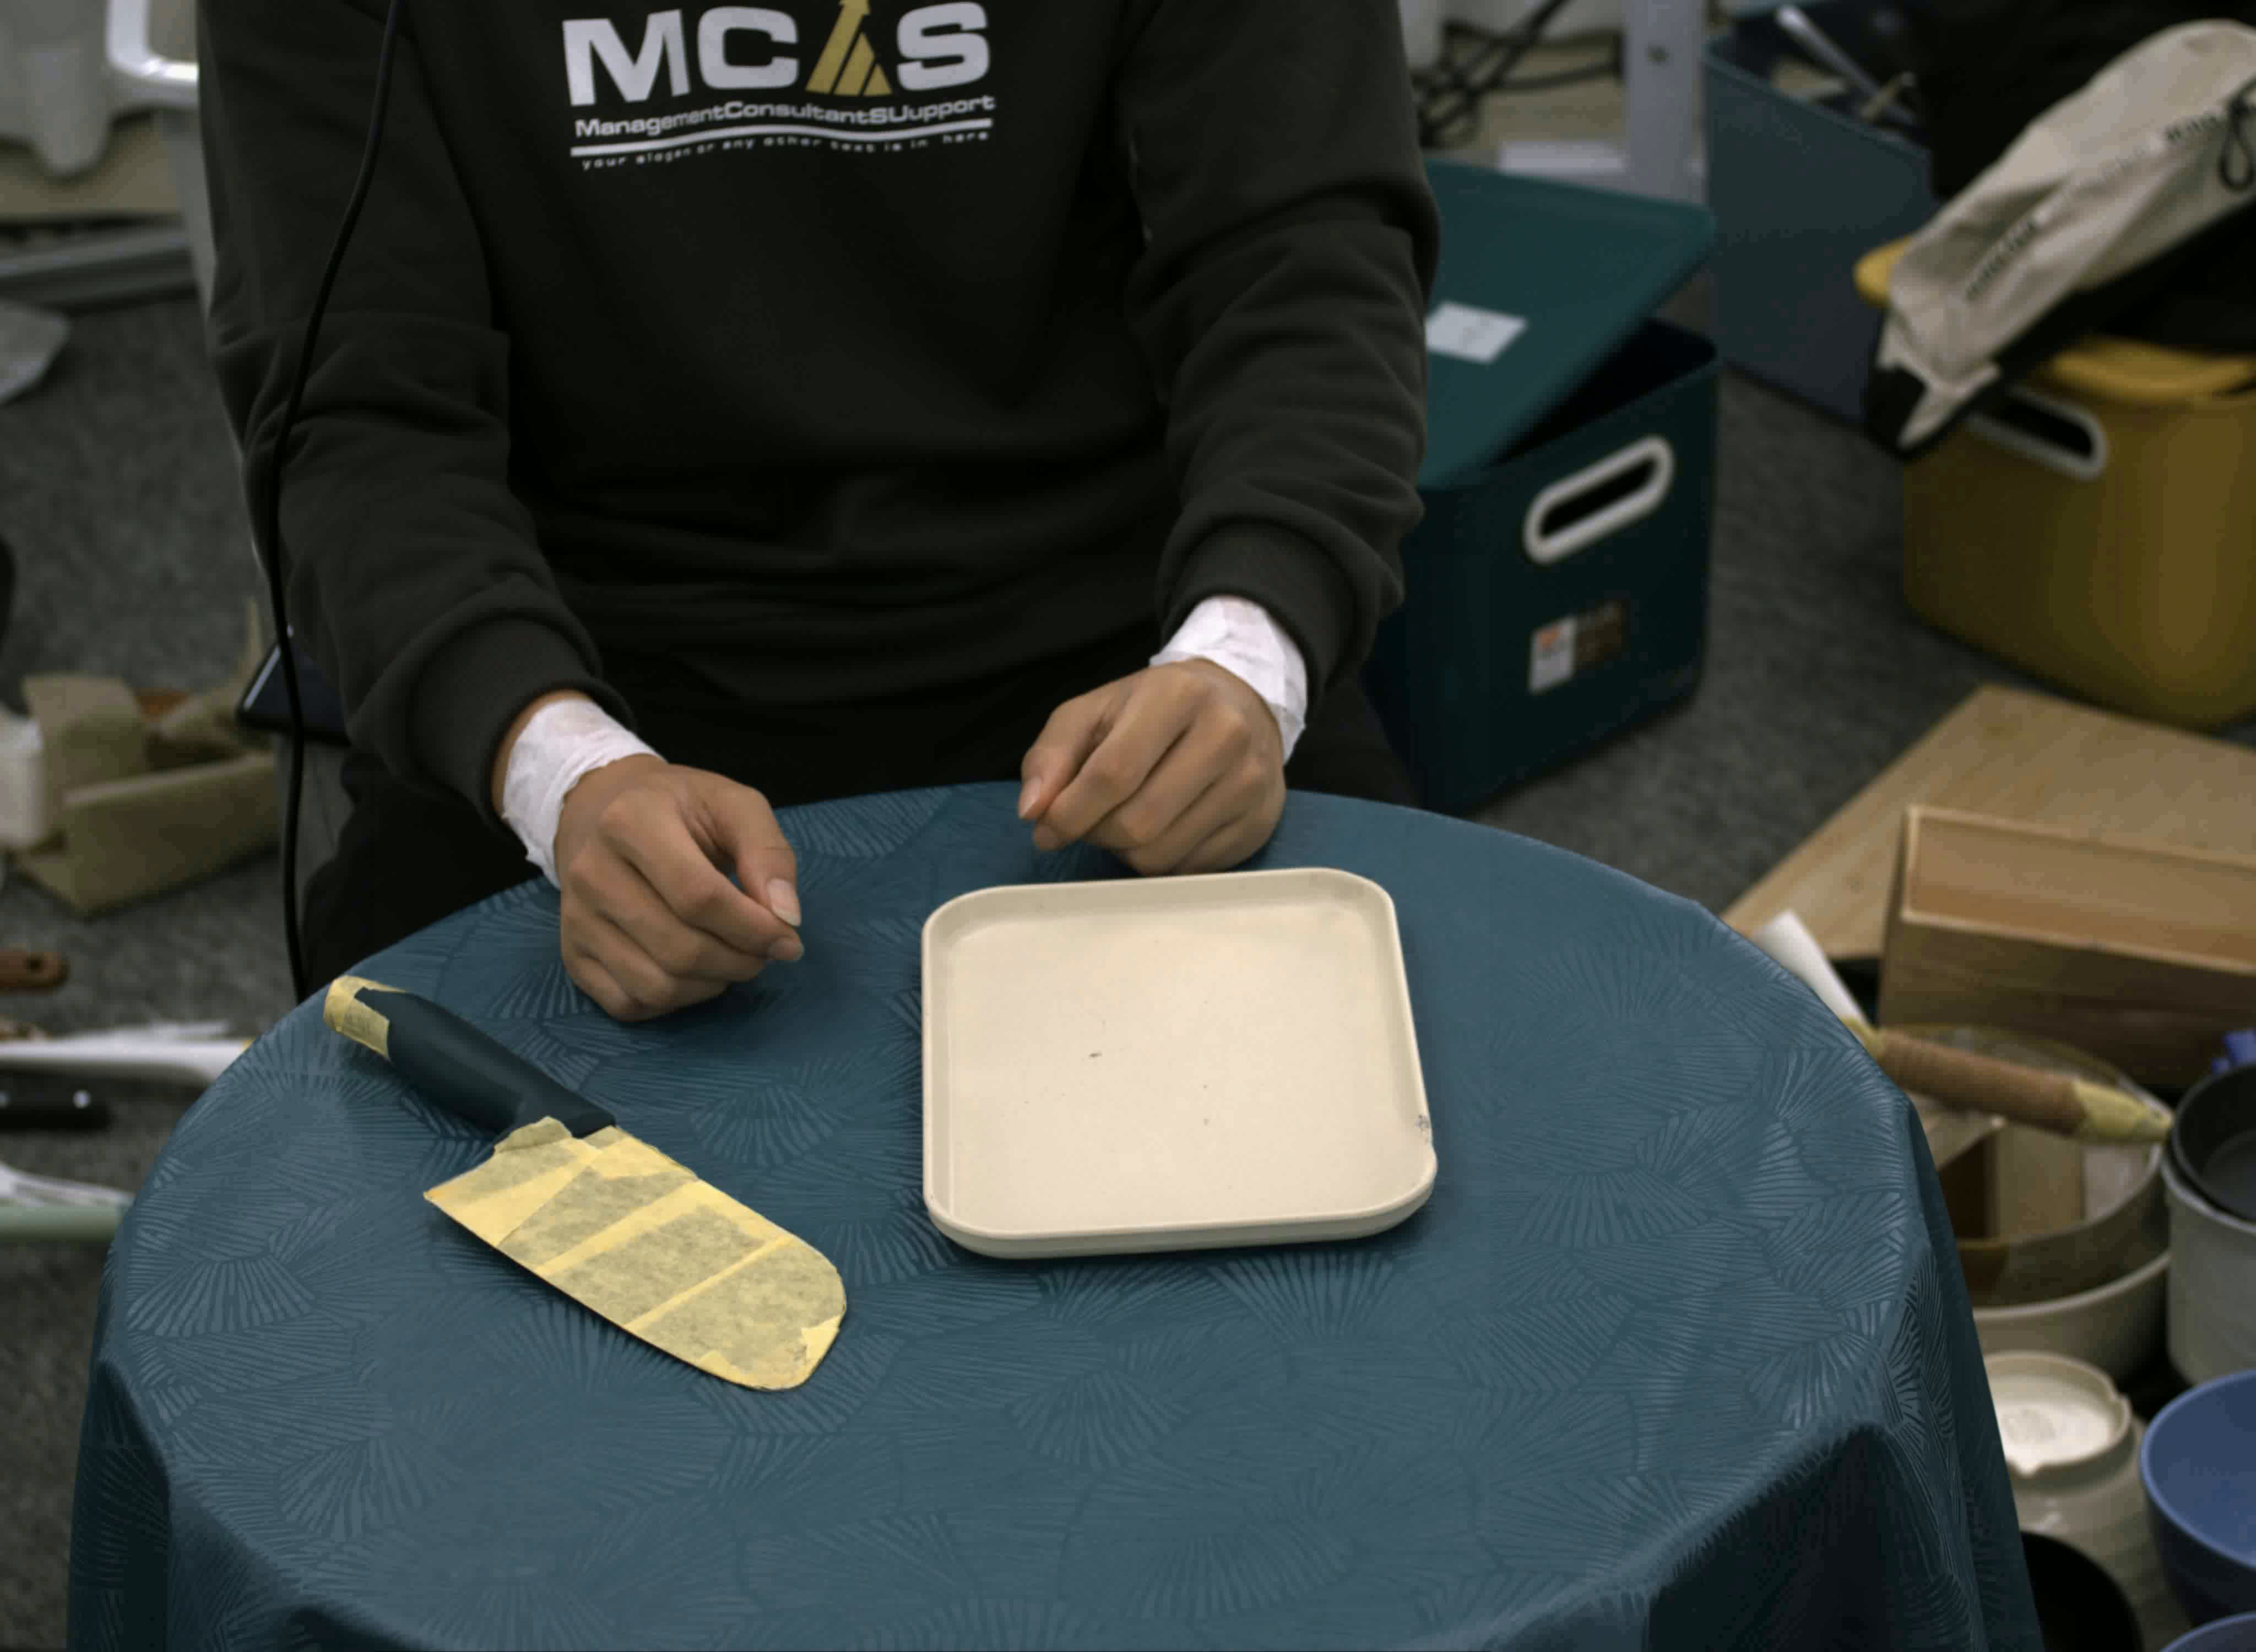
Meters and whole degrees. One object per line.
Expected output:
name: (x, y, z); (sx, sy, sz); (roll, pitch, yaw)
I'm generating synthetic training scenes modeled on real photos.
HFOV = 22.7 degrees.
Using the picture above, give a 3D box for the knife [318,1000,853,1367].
knife: (-0.191, 0.120, 1.867); (0.082, 0.027, 0.289); (-22, 34, -35)

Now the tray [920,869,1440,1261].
tray: (0.015, 0.081, 1.920); (0.170, 0.017, 0.243); (-4, 27, -1)
